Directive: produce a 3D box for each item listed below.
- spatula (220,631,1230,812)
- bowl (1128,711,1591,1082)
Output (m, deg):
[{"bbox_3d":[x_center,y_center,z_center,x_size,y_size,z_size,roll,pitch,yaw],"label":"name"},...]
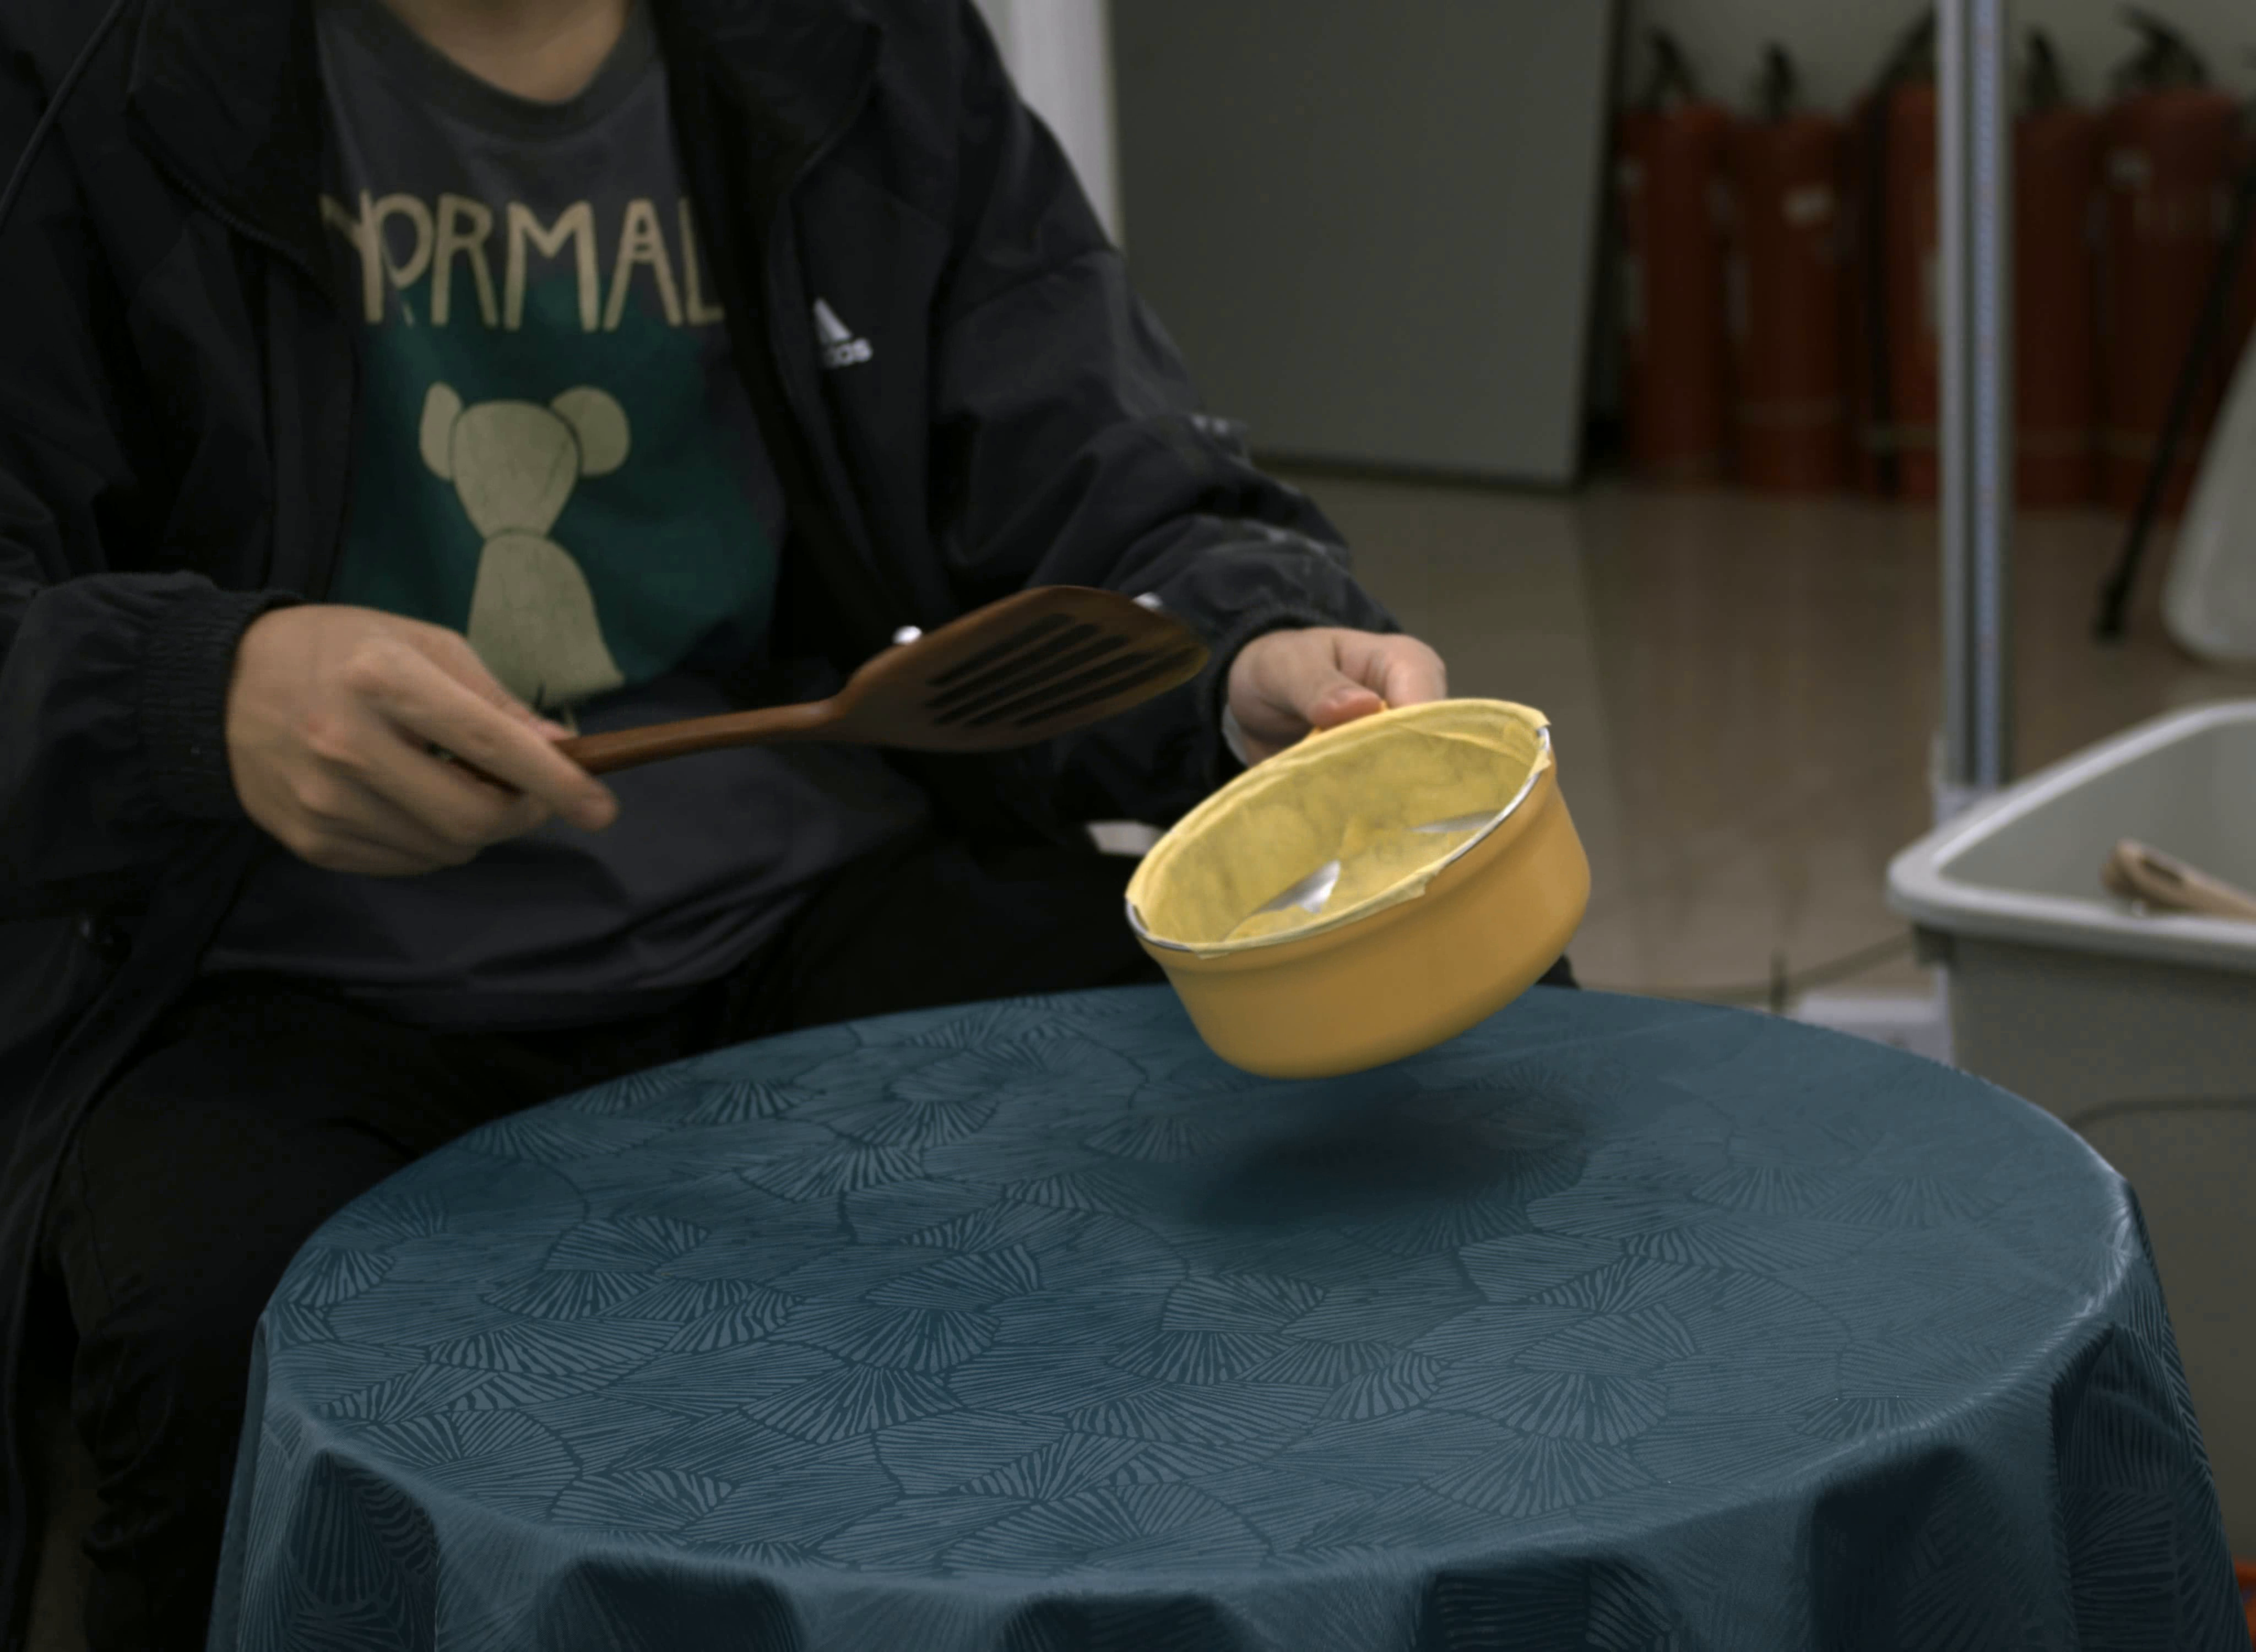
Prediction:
[{"bbox_3d":[-0.146,-0.025,1.788,0.388,0.024,0.084,-4,-26,30],"label":"spatula"},{"bbox_3d":[0.083,0.021,1.796,0.152,0.074,0.180,-23,21,9],"label":"bowl"}]
